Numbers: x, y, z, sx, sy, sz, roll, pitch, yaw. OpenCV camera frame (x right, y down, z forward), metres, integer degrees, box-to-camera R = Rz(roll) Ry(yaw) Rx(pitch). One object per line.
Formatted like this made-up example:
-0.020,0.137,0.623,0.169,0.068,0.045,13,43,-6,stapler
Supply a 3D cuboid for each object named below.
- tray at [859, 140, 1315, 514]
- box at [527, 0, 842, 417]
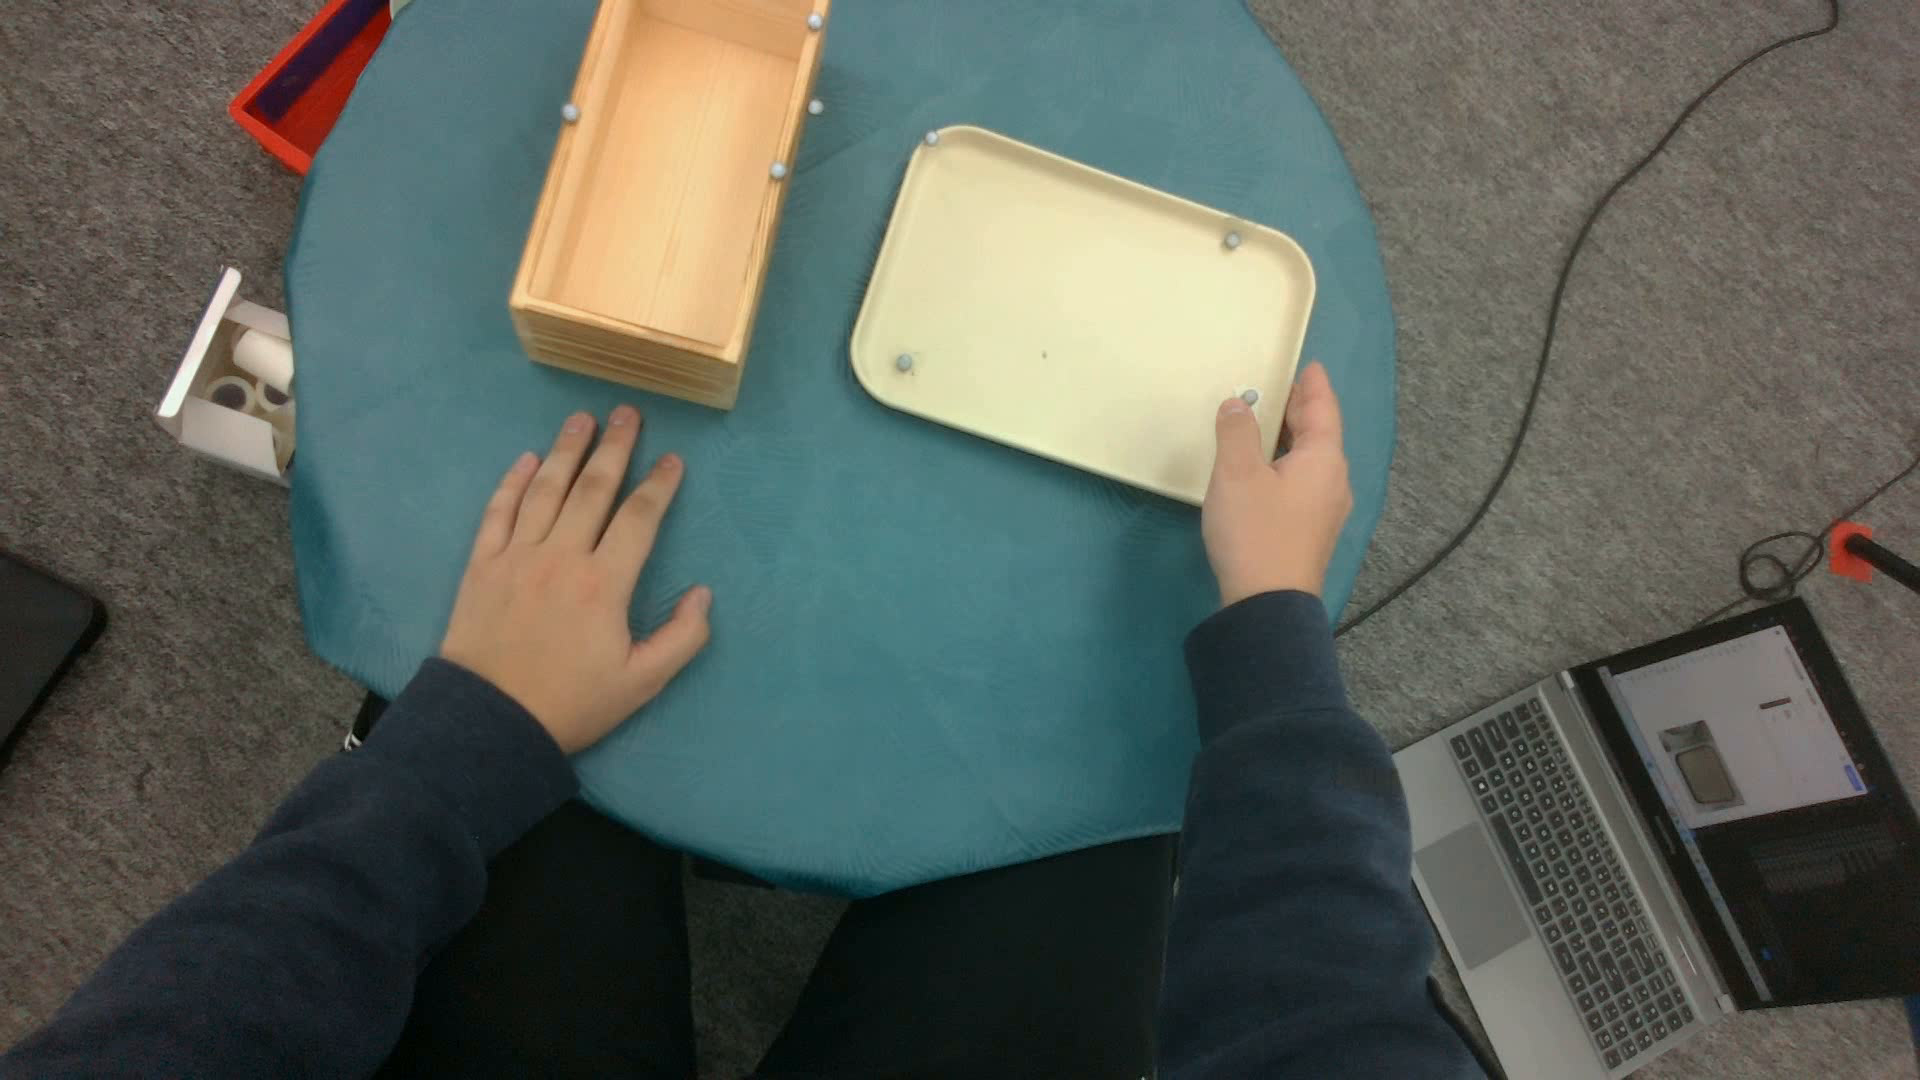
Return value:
0.073,-0.119,0.771,0.240,0.017,0.171,18,76,-4,tray
-0.139,-0.184,0.716,0.107,0.080,0.212,13,76,-7,box
